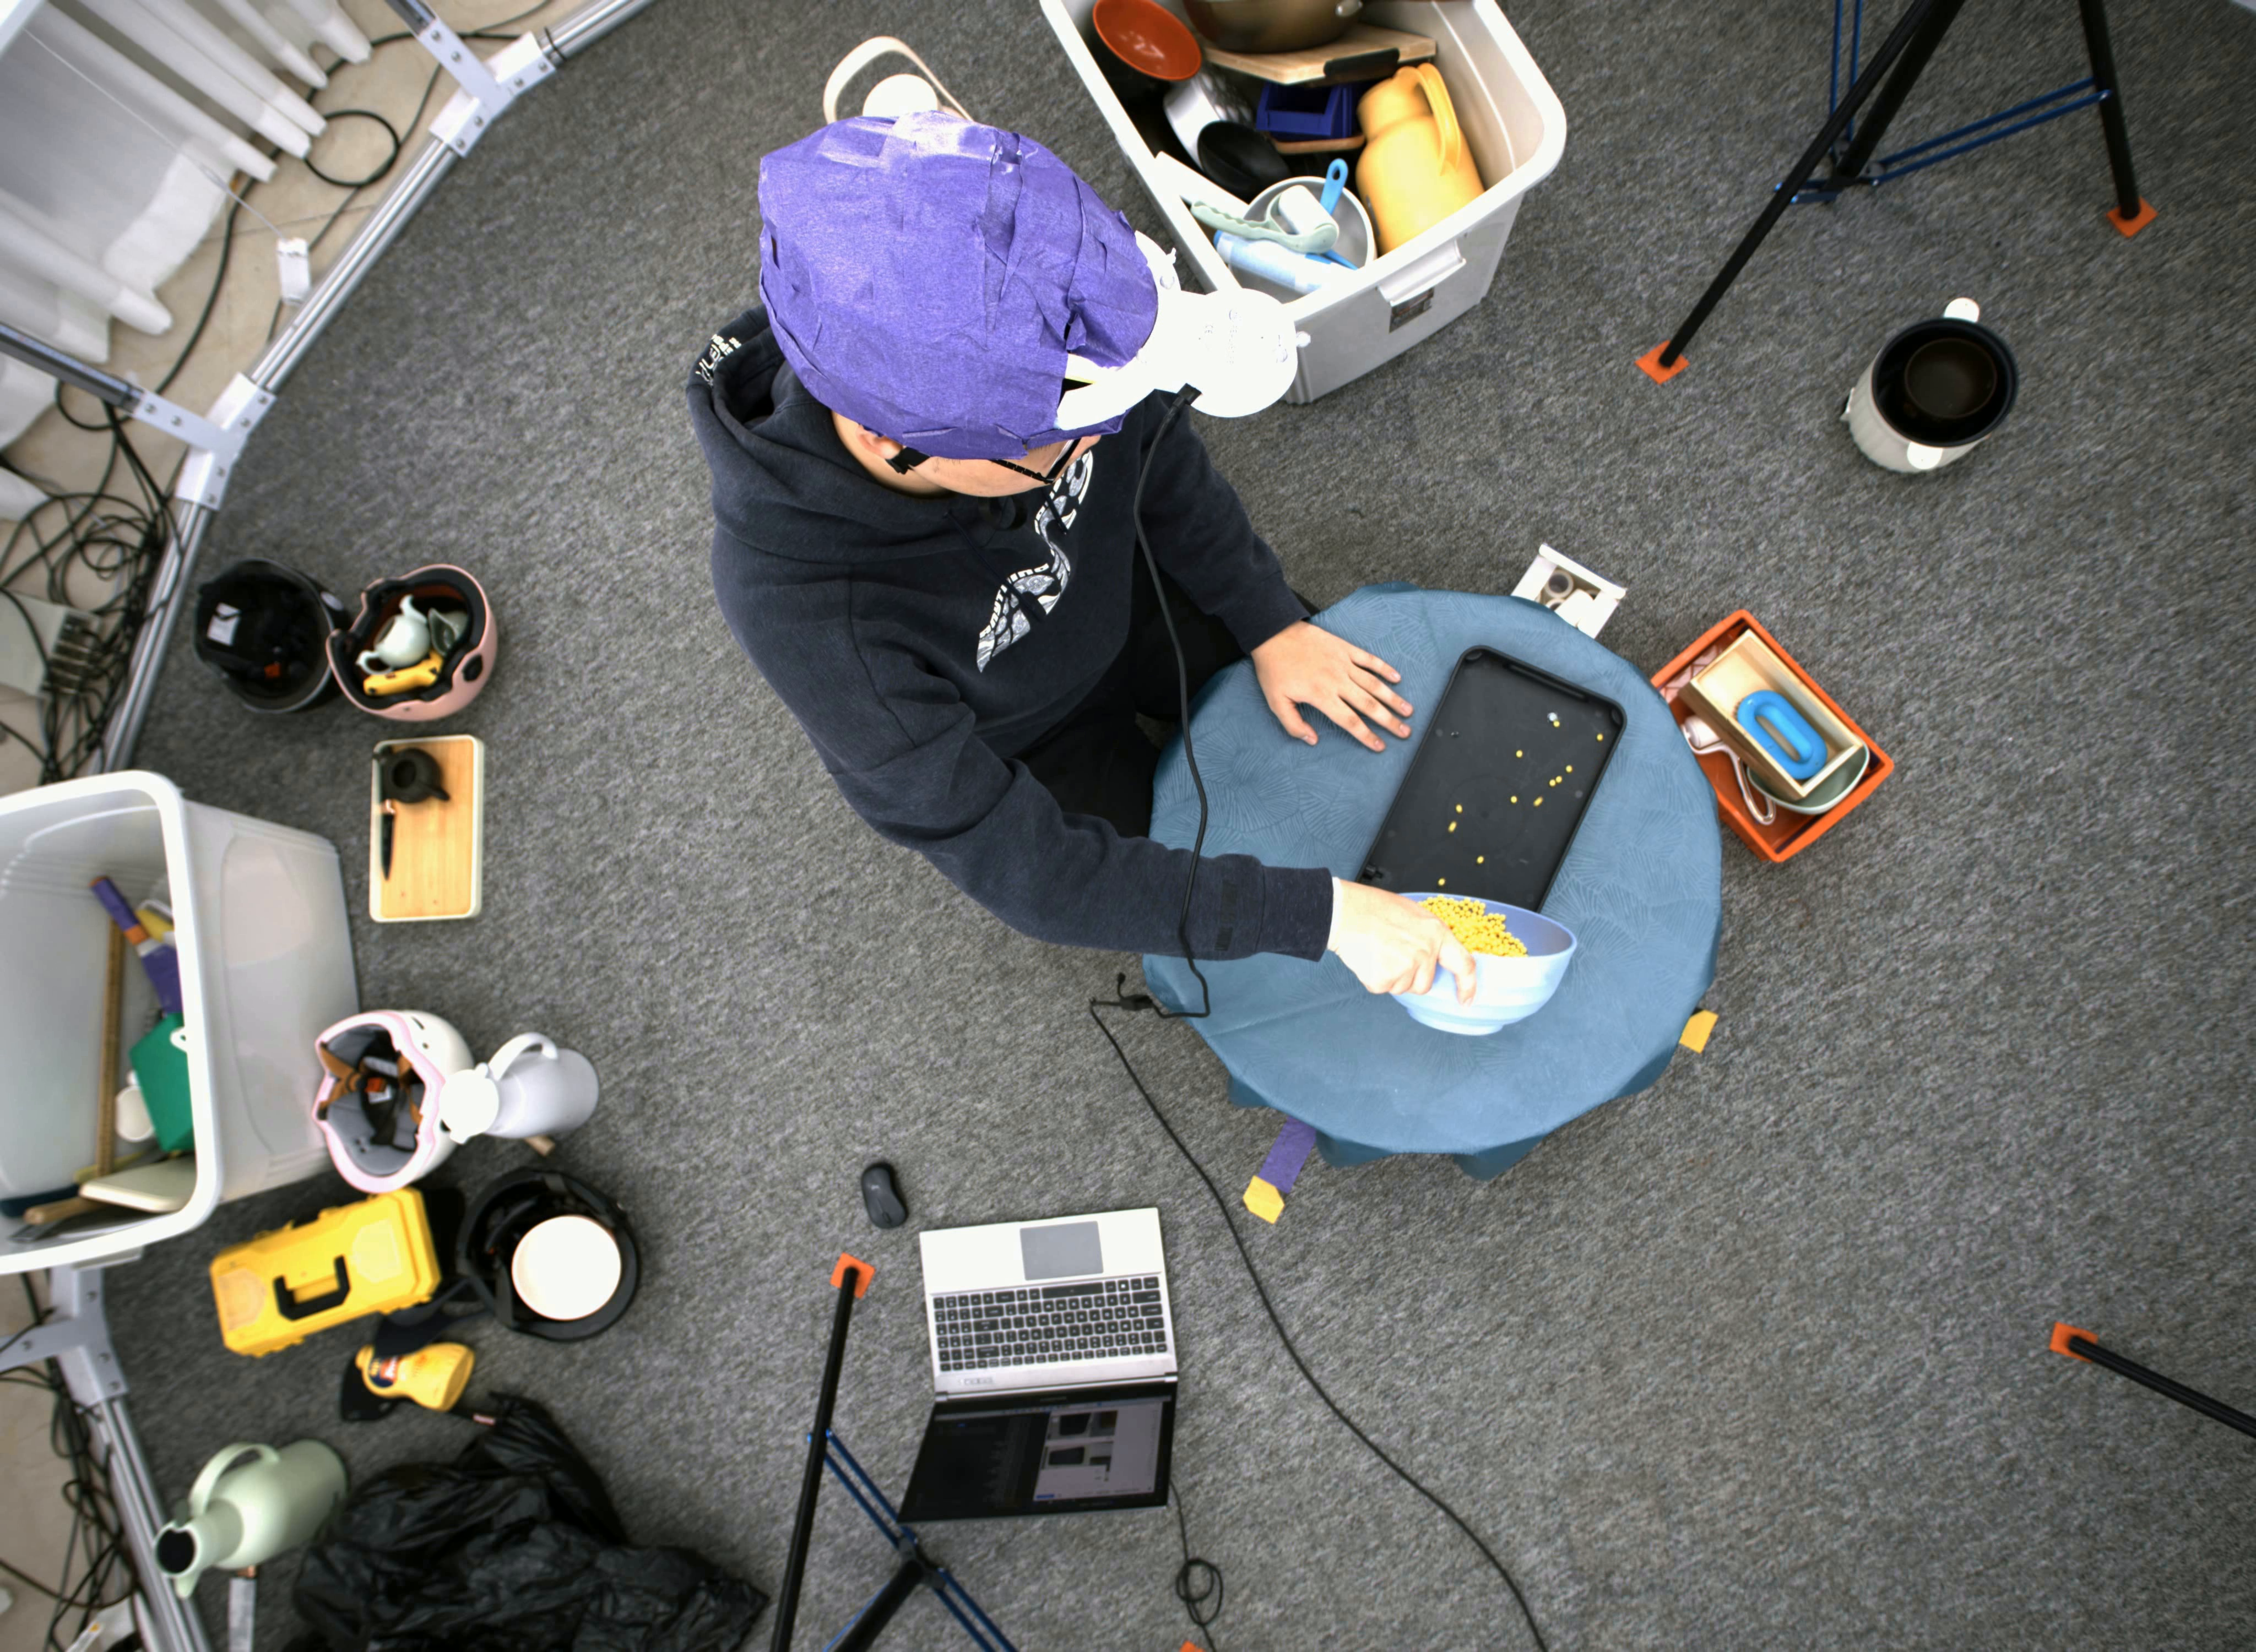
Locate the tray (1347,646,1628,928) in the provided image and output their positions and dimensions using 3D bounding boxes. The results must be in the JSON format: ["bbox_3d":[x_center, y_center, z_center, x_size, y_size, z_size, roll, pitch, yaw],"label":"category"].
[{"bbox_3d":[0.371,-0.015,1.427,0.184,0.037,0.318,26,91,12],"label":"tray"}]

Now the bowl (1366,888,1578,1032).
[{"bbox_3d":[0.316,0.131,1.301,0.197,0.193,0.096,10,105,11],"label":"bowl"}]
